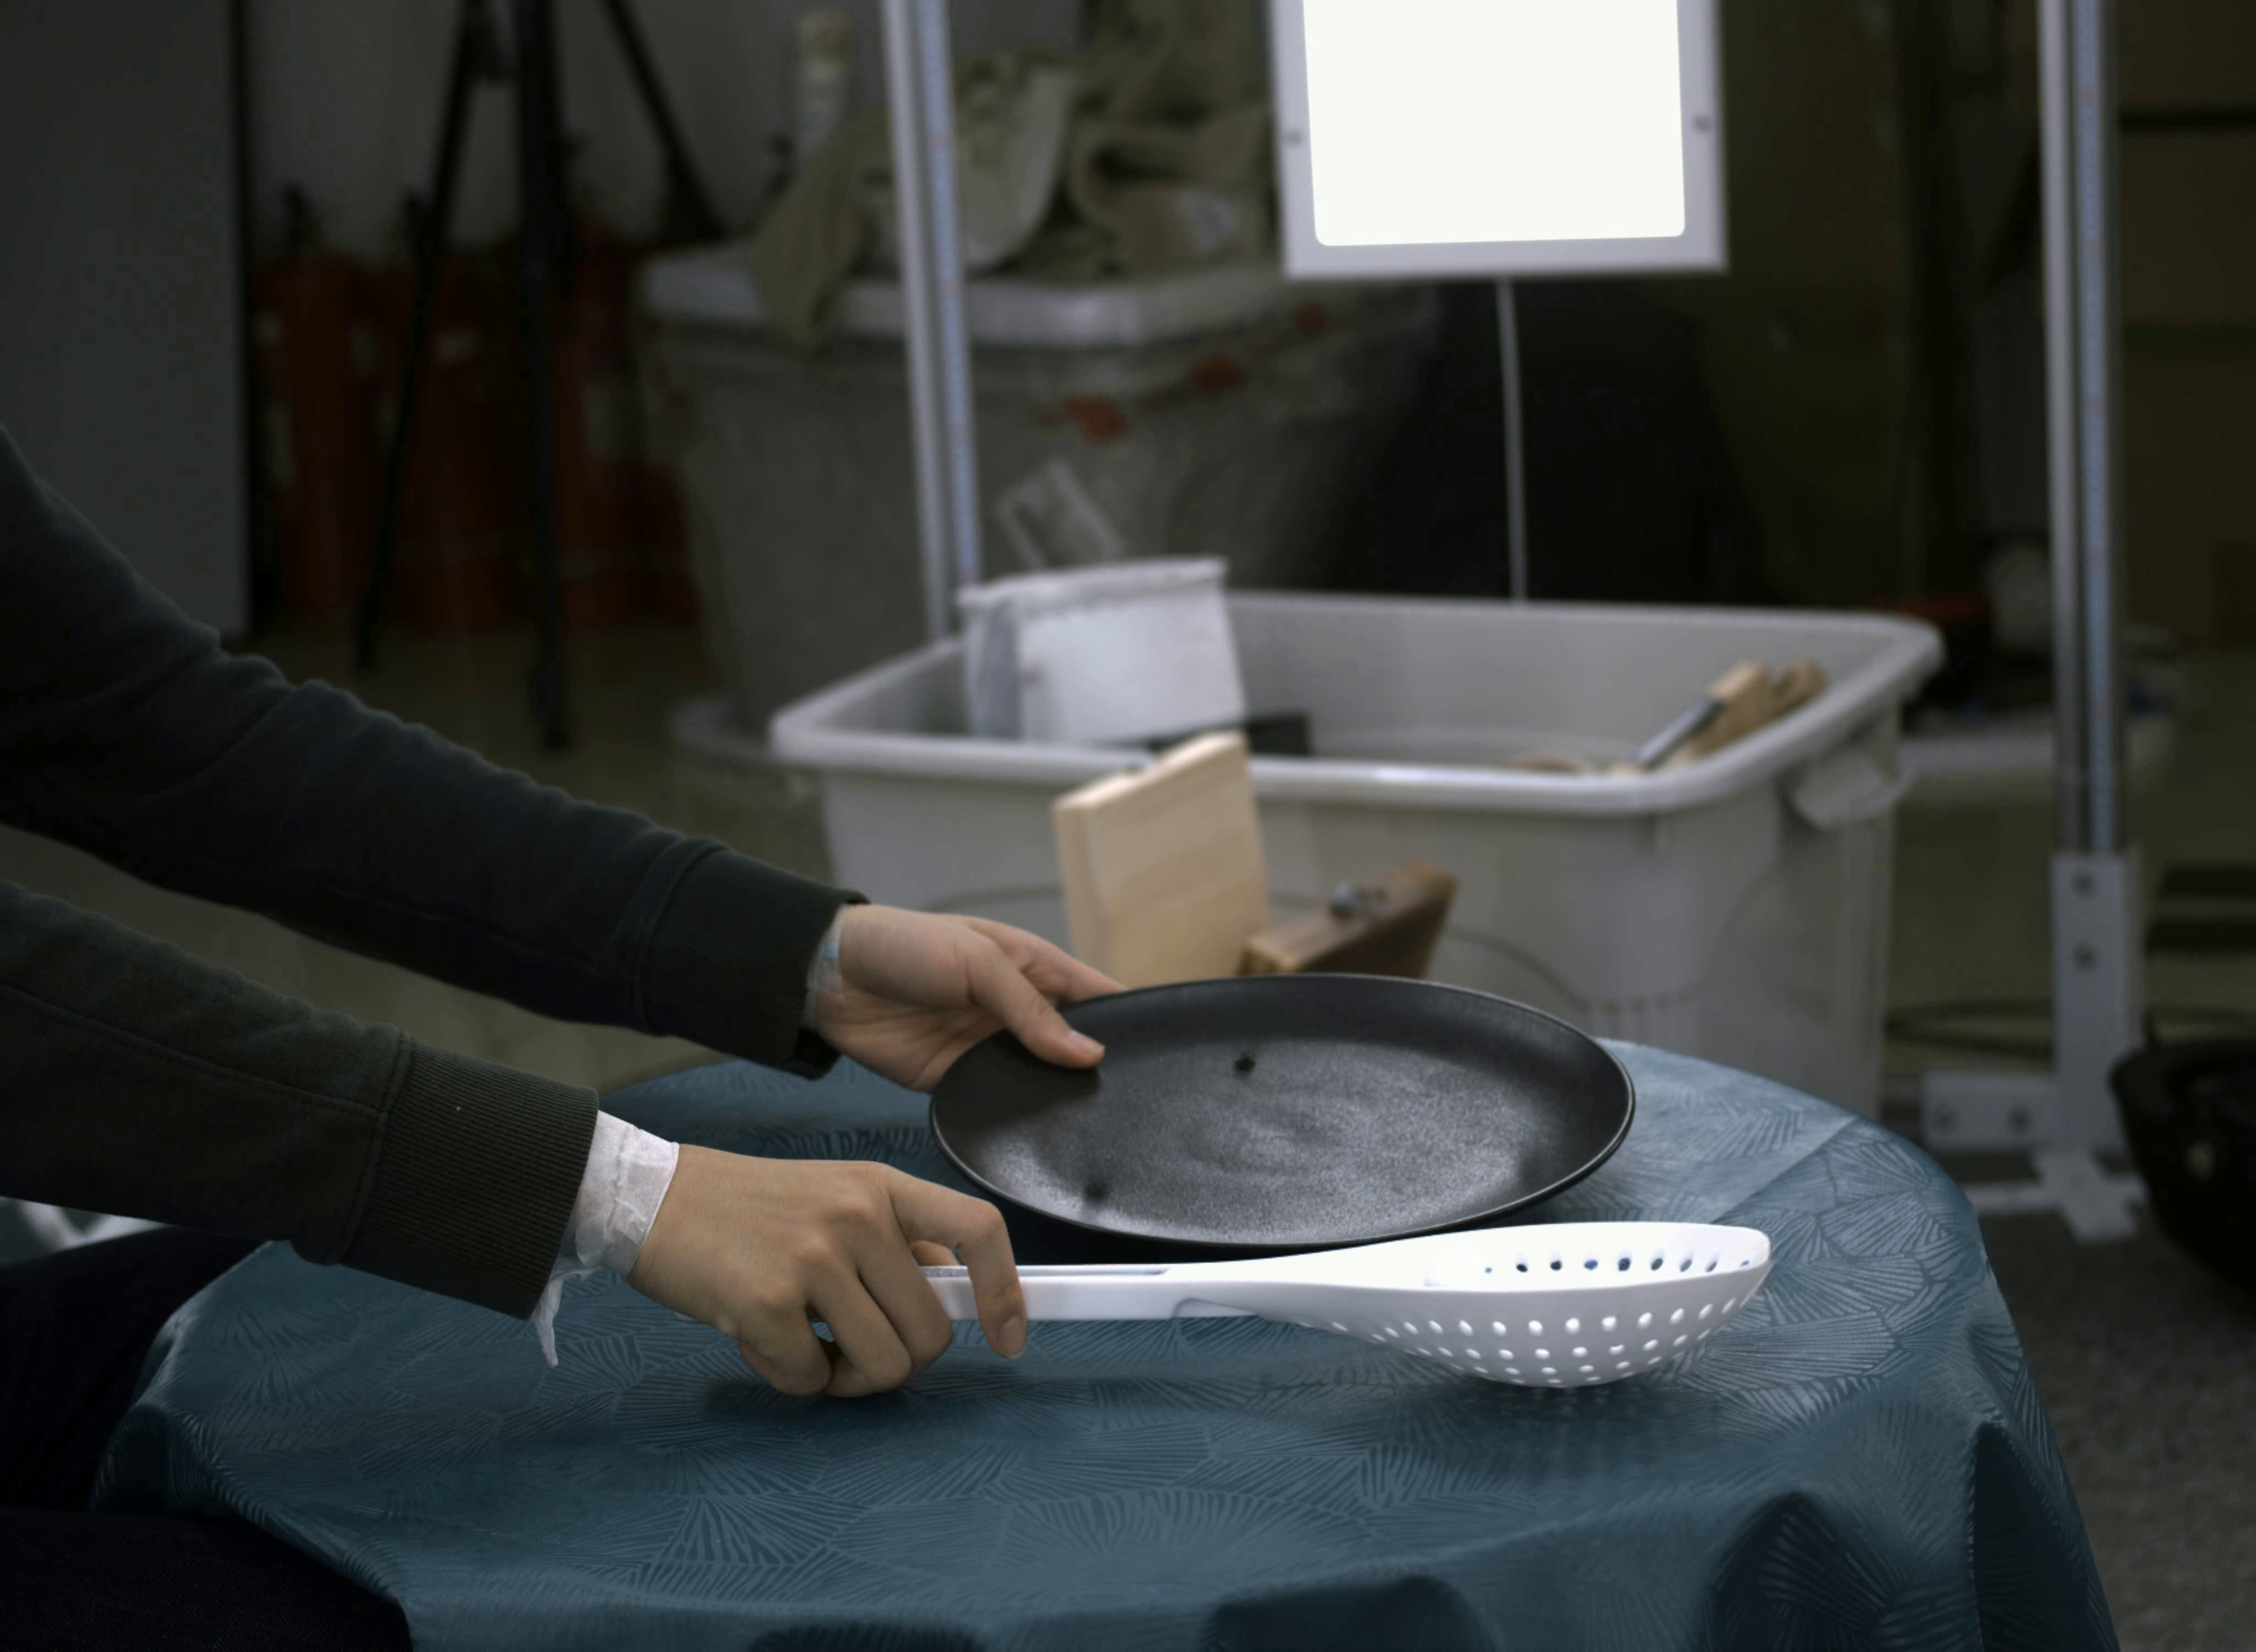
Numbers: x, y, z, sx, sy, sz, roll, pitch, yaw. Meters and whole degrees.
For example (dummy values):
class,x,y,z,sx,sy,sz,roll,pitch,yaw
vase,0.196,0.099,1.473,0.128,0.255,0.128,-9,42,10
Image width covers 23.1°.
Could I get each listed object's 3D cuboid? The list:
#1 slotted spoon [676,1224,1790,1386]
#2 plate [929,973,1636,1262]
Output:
class,x,y,z,sx,sy,sz,roll,pitch,yaw
slotted spoon,0.029,0.141,1.695,0.353,0.046,0.134,2,4,15
plate,0.053,0.103,1.886,0.243,0.023,0.244,-3,19,0
